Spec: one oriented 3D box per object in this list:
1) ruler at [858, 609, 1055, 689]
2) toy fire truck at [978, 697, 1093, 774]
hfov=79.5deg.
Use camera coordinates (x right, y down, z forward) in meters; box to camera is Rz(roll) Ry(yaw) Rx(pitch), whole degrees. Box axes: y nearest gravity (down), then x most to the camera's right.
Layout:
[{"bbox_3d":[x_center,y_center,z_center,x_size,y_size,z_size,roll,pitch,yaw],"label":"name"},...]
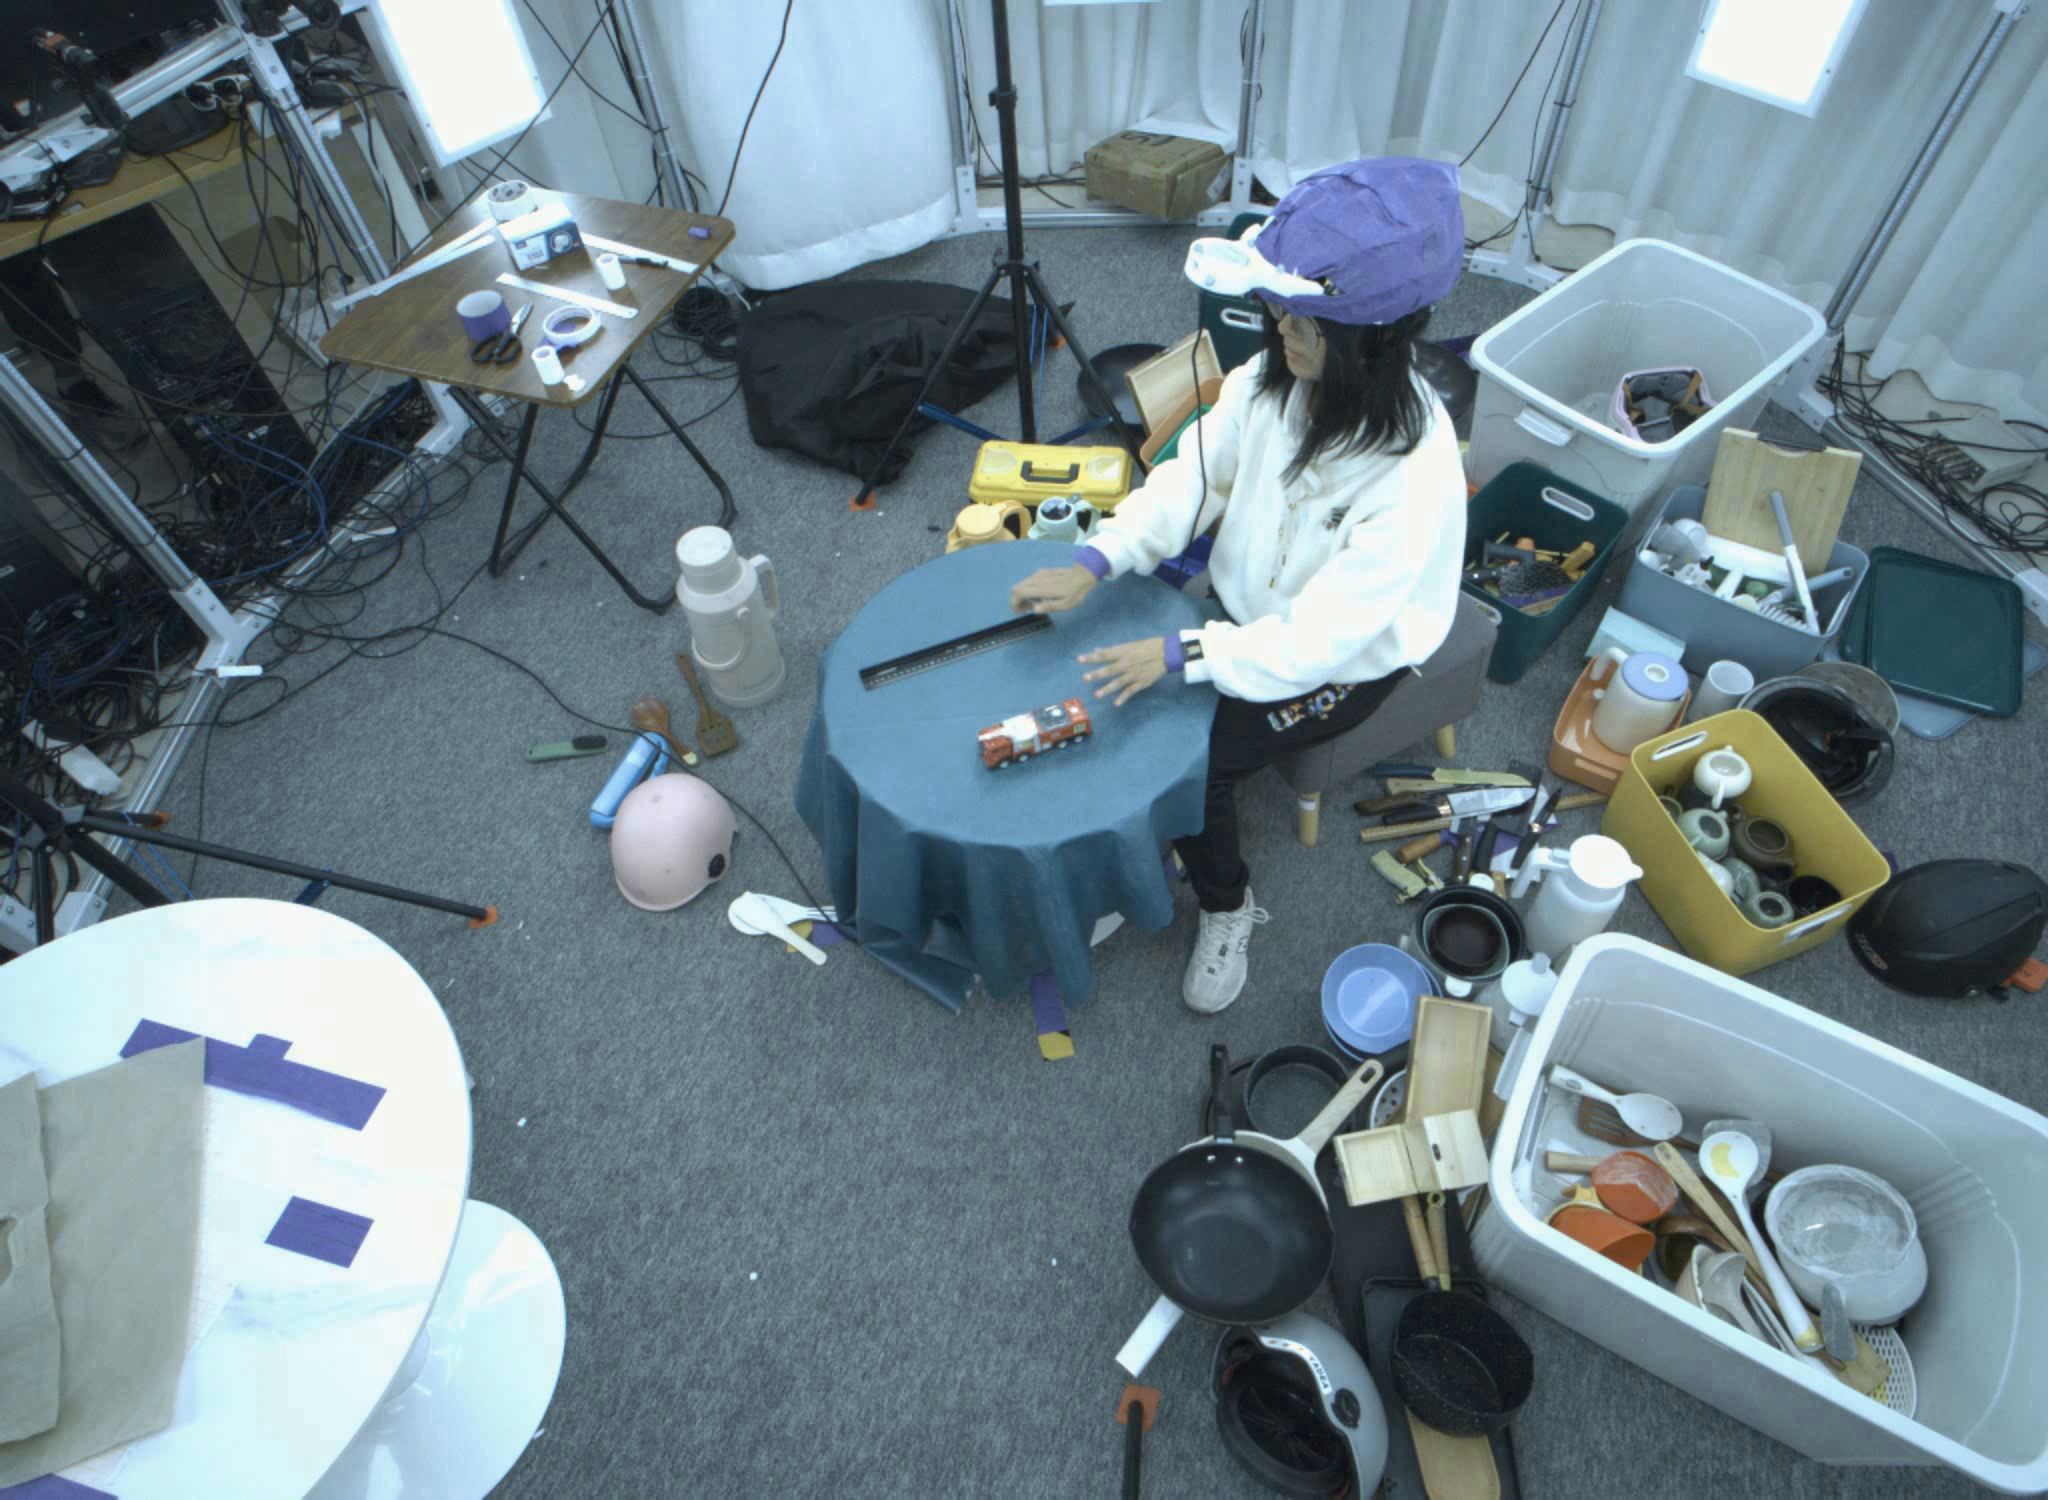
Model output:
[{"bbox_3d":[-0.104,-0.158,1.893,0.315,0.017,0.038,-19,60,-11],"label":"ruler"},{"bbox_3d":[0.015,-0.022,1.767,0.169,0.071,0.053,-18,55,-12],"label":"toy fire truck"}]
